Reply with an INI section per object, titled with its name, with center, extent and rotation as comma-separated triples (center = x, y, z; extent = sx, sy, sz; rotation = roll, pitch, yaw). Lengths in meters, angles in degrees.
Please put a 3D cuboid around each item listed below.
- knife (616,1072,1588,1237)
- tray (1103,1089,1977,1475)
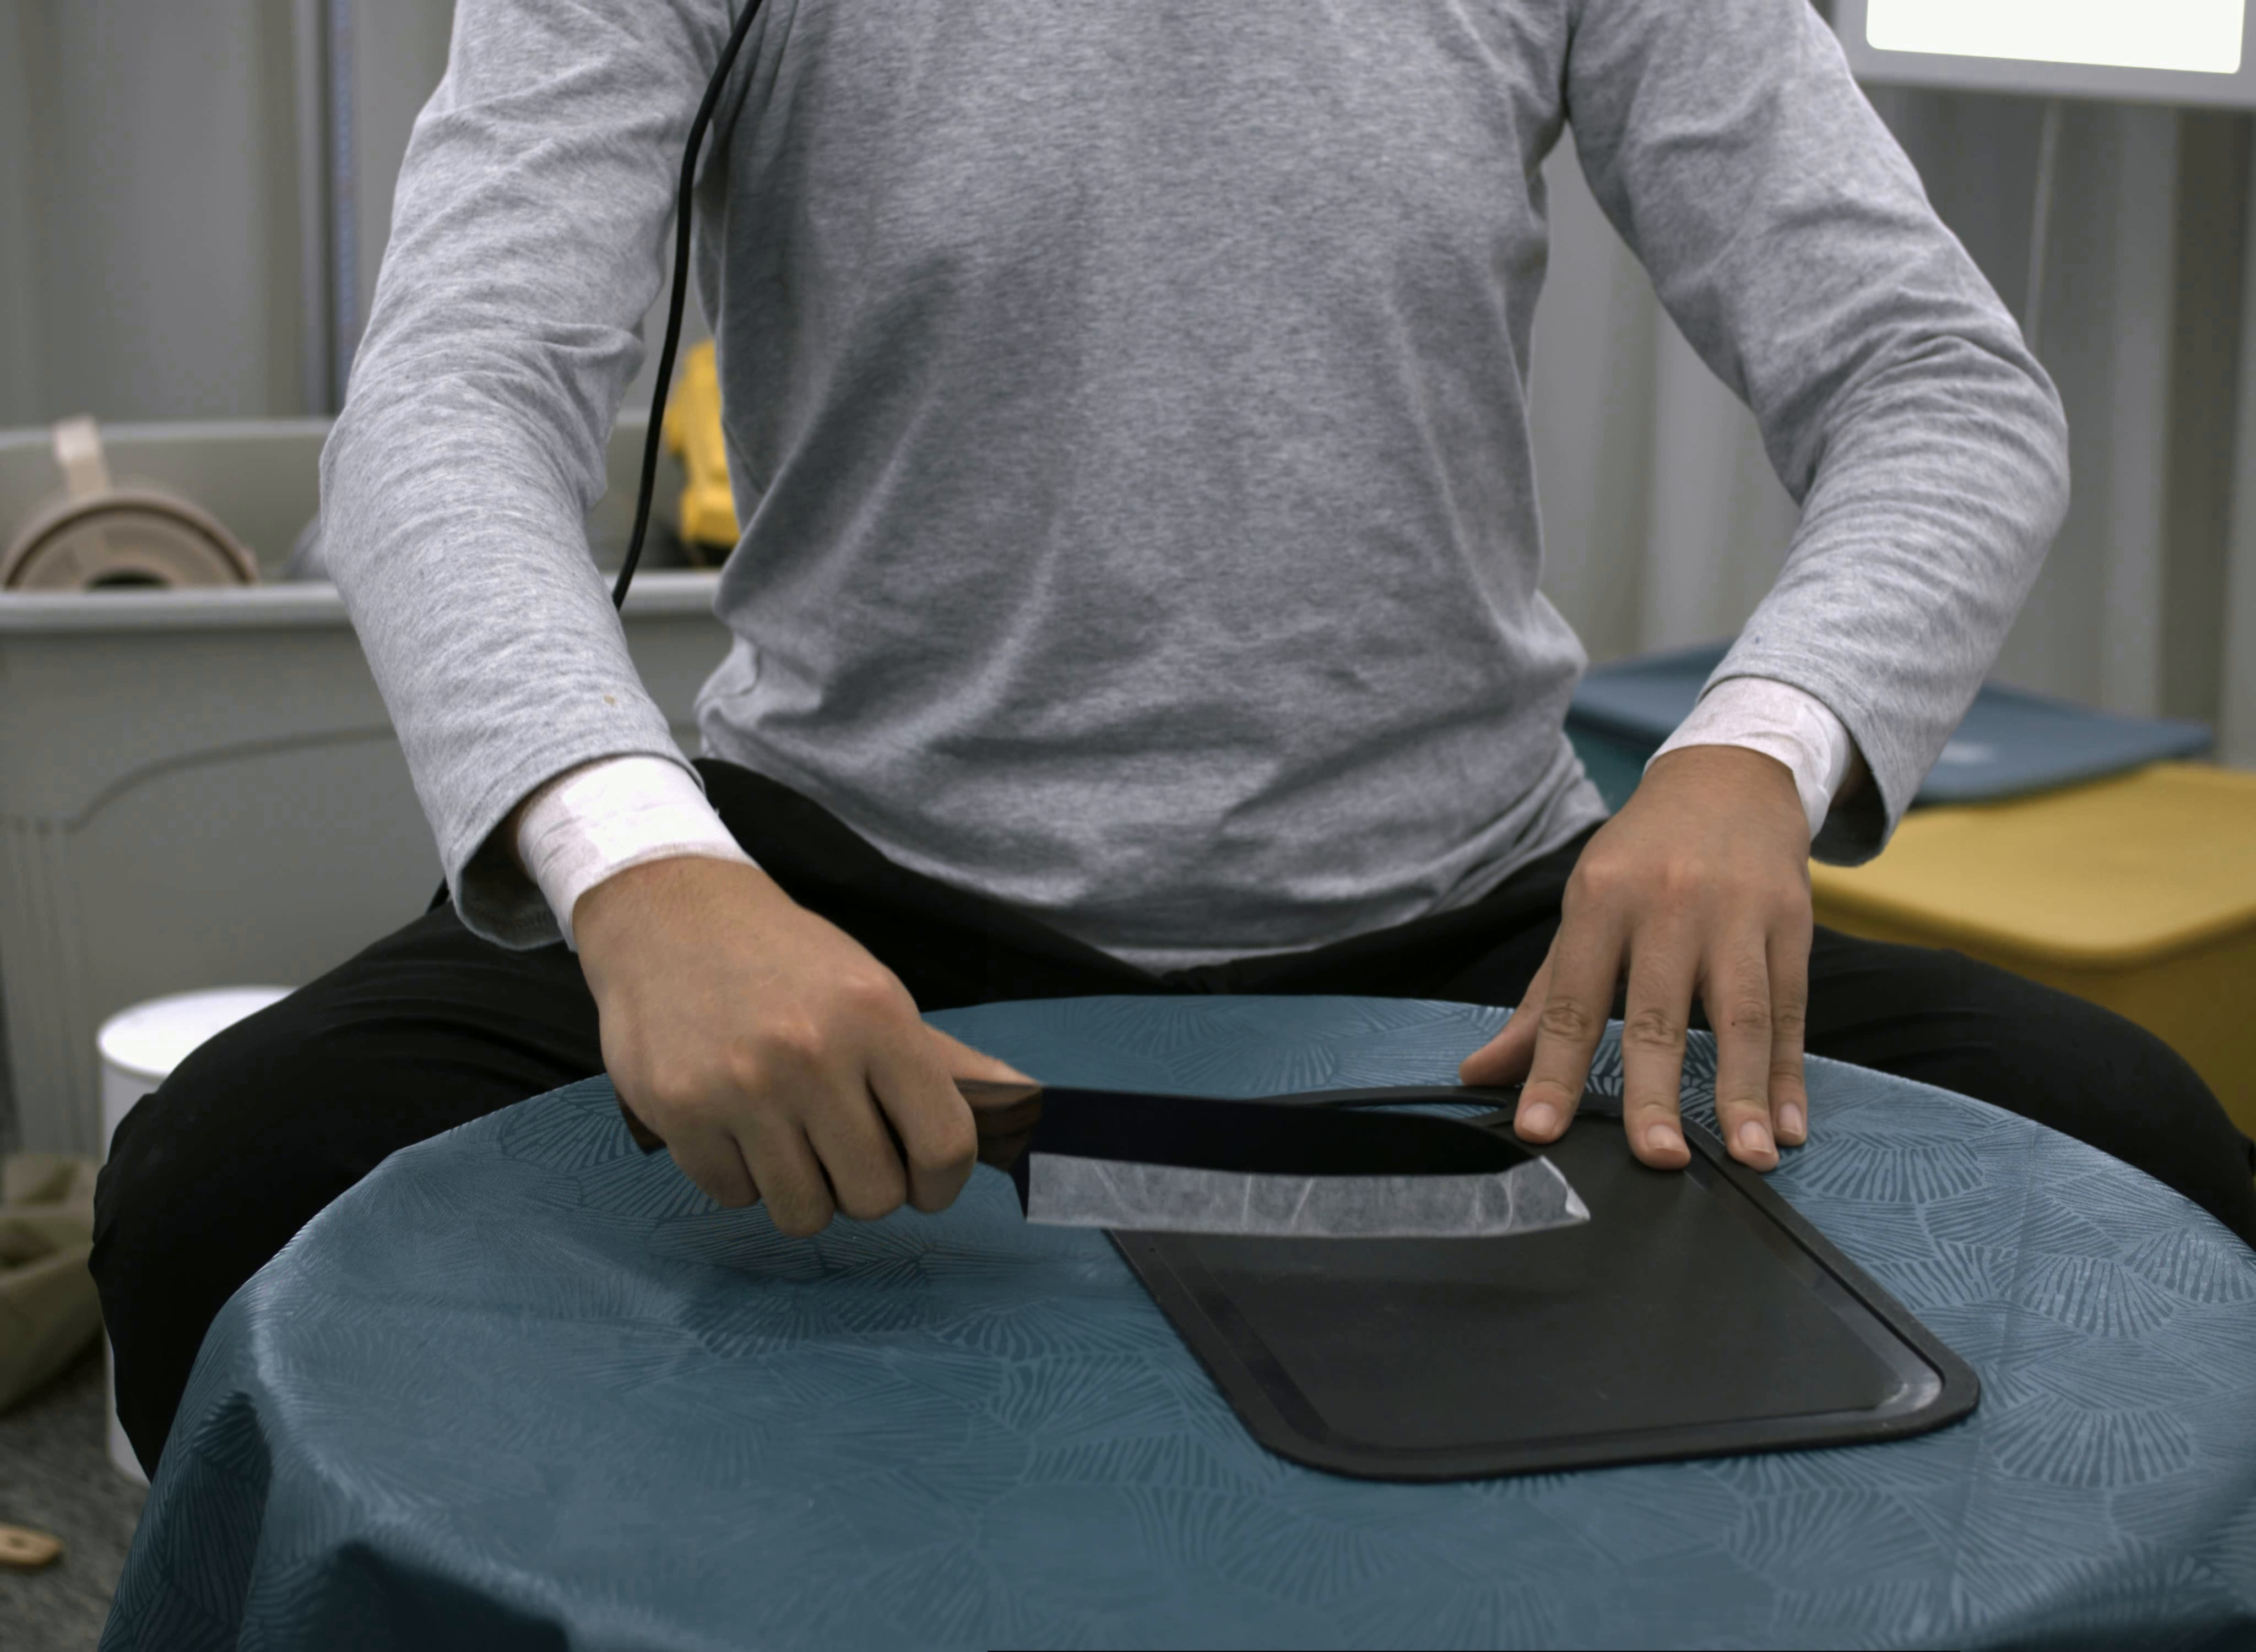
[knife]
center = -0.008, 0.098, 1.551
extent = 0.288, 0.051, 0.020
rotation = 5, 29, 2
[tray]
center = 0.107, 0.127, 1.564
extent = 0.211, 0.010, 0.322
rotation = -3, 15, -13
